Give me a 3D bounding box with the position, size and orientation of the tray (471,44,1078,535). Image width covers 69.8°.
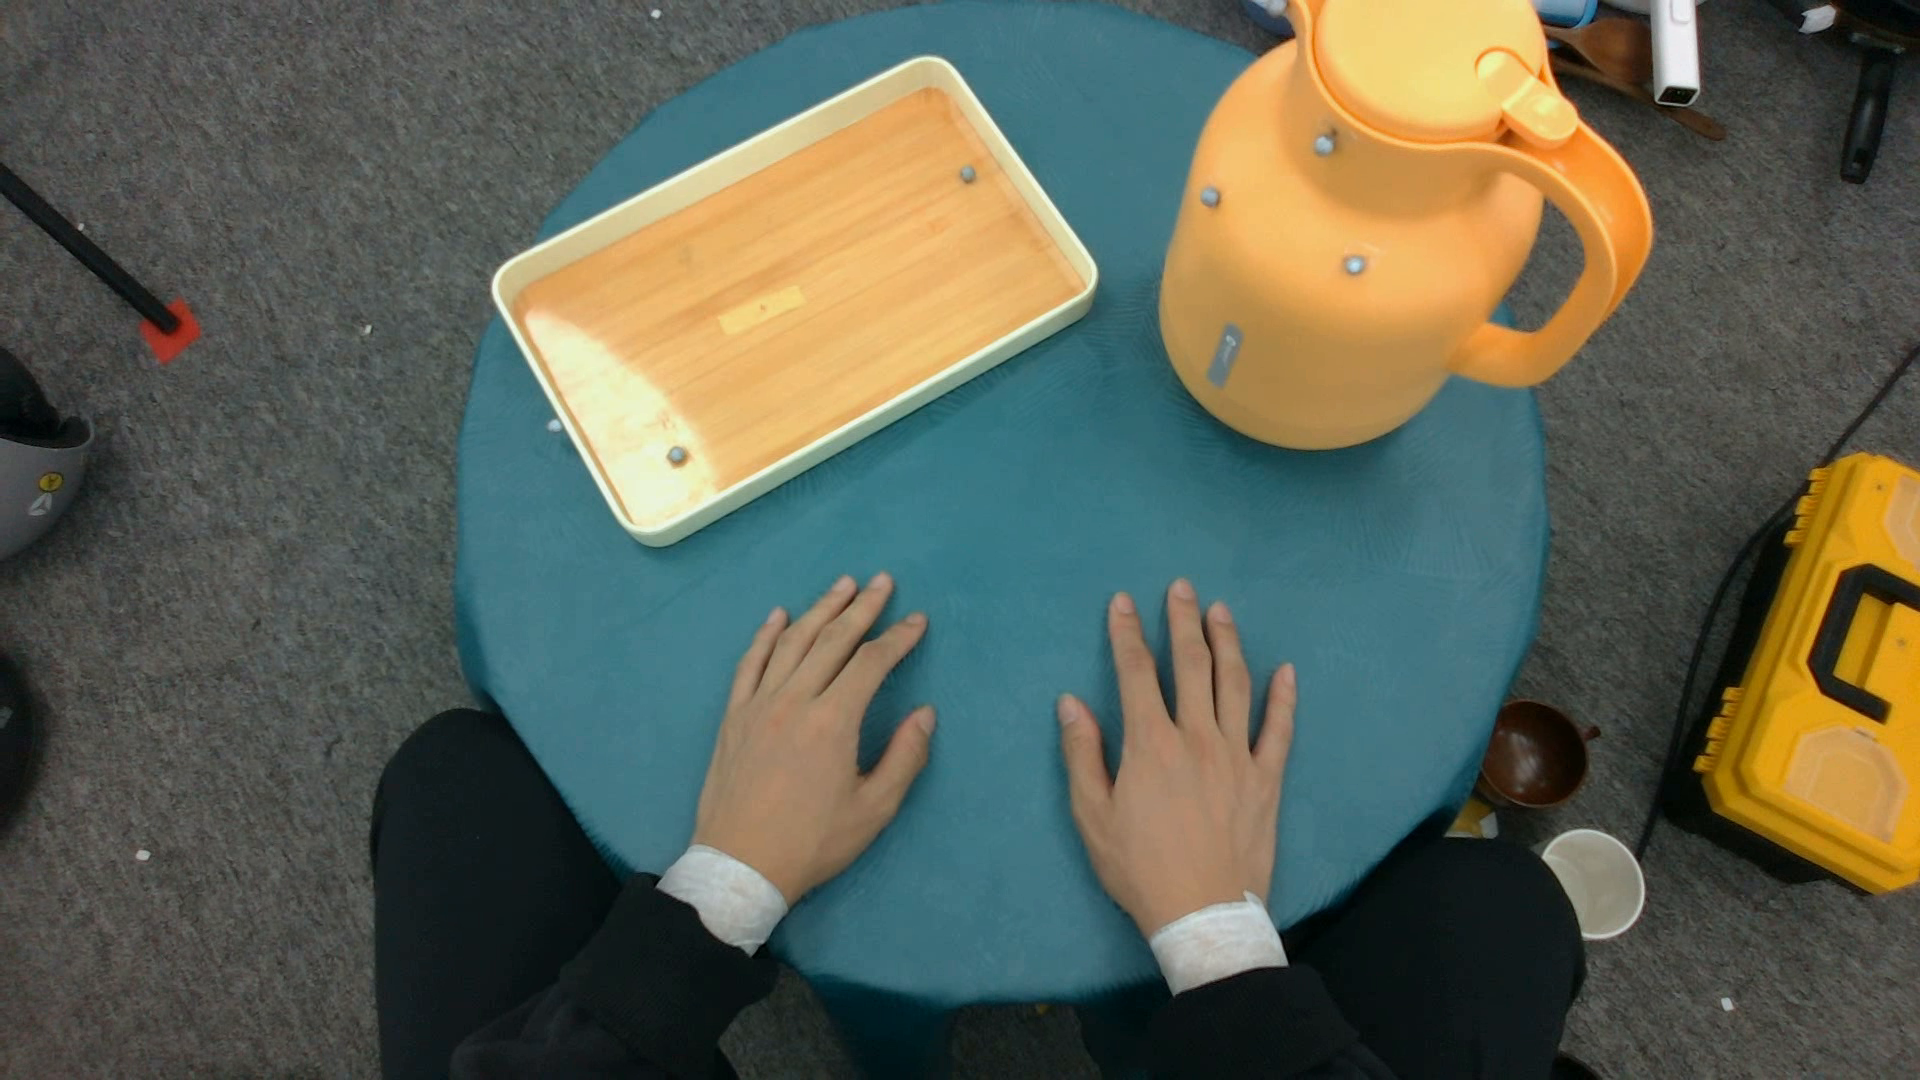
[{"bbox_3d":[-0.103,-0.149,0.780,0.301,0.027,0.192,-30,73,-10],"label":"tray"}]

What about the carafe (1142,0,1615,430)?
[{"bbox_3d":[0.191,-0.155,0.660,0.164,0.259,0.202,-44,75,-11],"label":"carafe"}]
